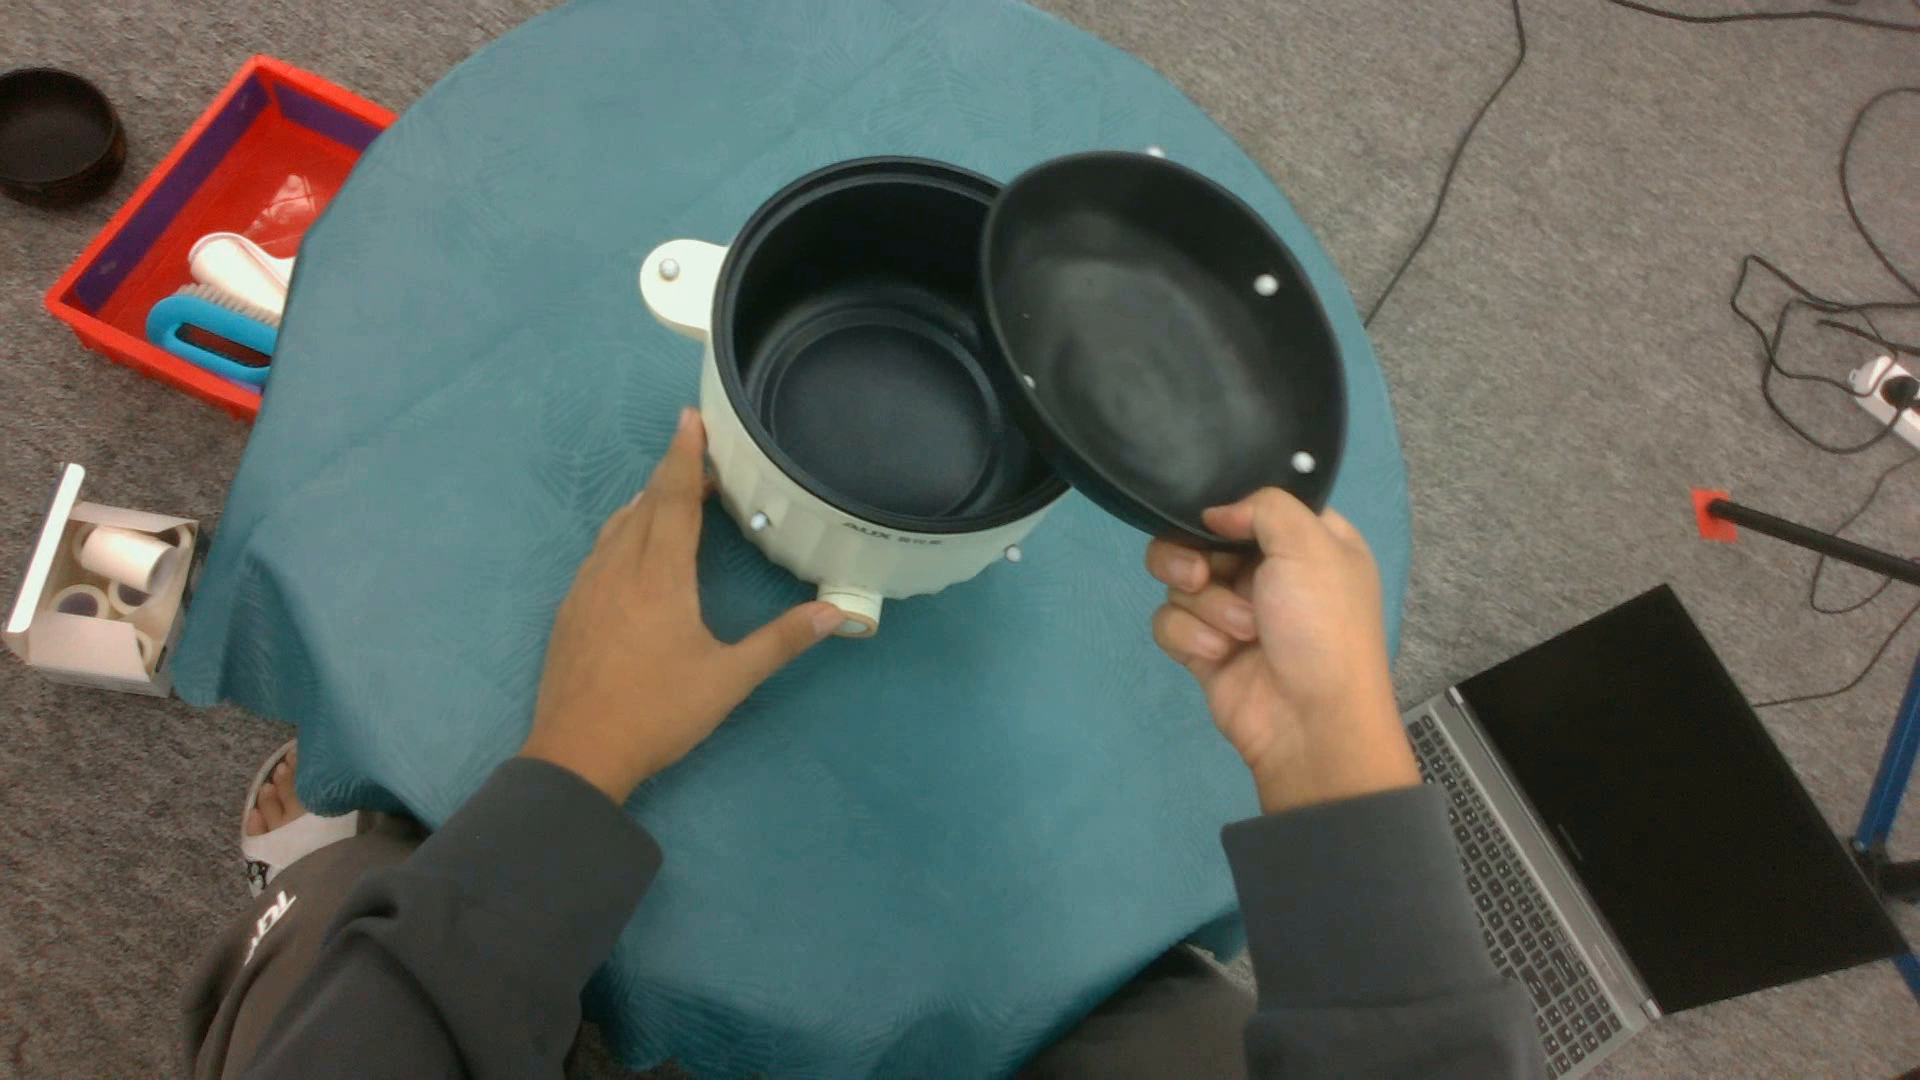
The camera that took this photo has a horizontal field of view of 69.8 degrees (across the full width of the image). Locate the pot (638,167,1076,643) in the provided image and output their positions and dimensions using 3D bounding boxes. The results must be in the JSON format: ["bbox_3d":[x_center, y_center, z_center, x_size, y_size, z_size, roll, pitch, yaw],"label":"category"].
[{"bbox_3d":[-0.032,-0.058,0.659,0.240,0.142,0.191,7,64,-10],"label":"pot"}]

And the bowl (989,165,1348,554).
[{"bbox_3d":[0.078,-0.066,0.552,0.170,0.066,0.138,46,65,-2],"label":"bowl"}]
